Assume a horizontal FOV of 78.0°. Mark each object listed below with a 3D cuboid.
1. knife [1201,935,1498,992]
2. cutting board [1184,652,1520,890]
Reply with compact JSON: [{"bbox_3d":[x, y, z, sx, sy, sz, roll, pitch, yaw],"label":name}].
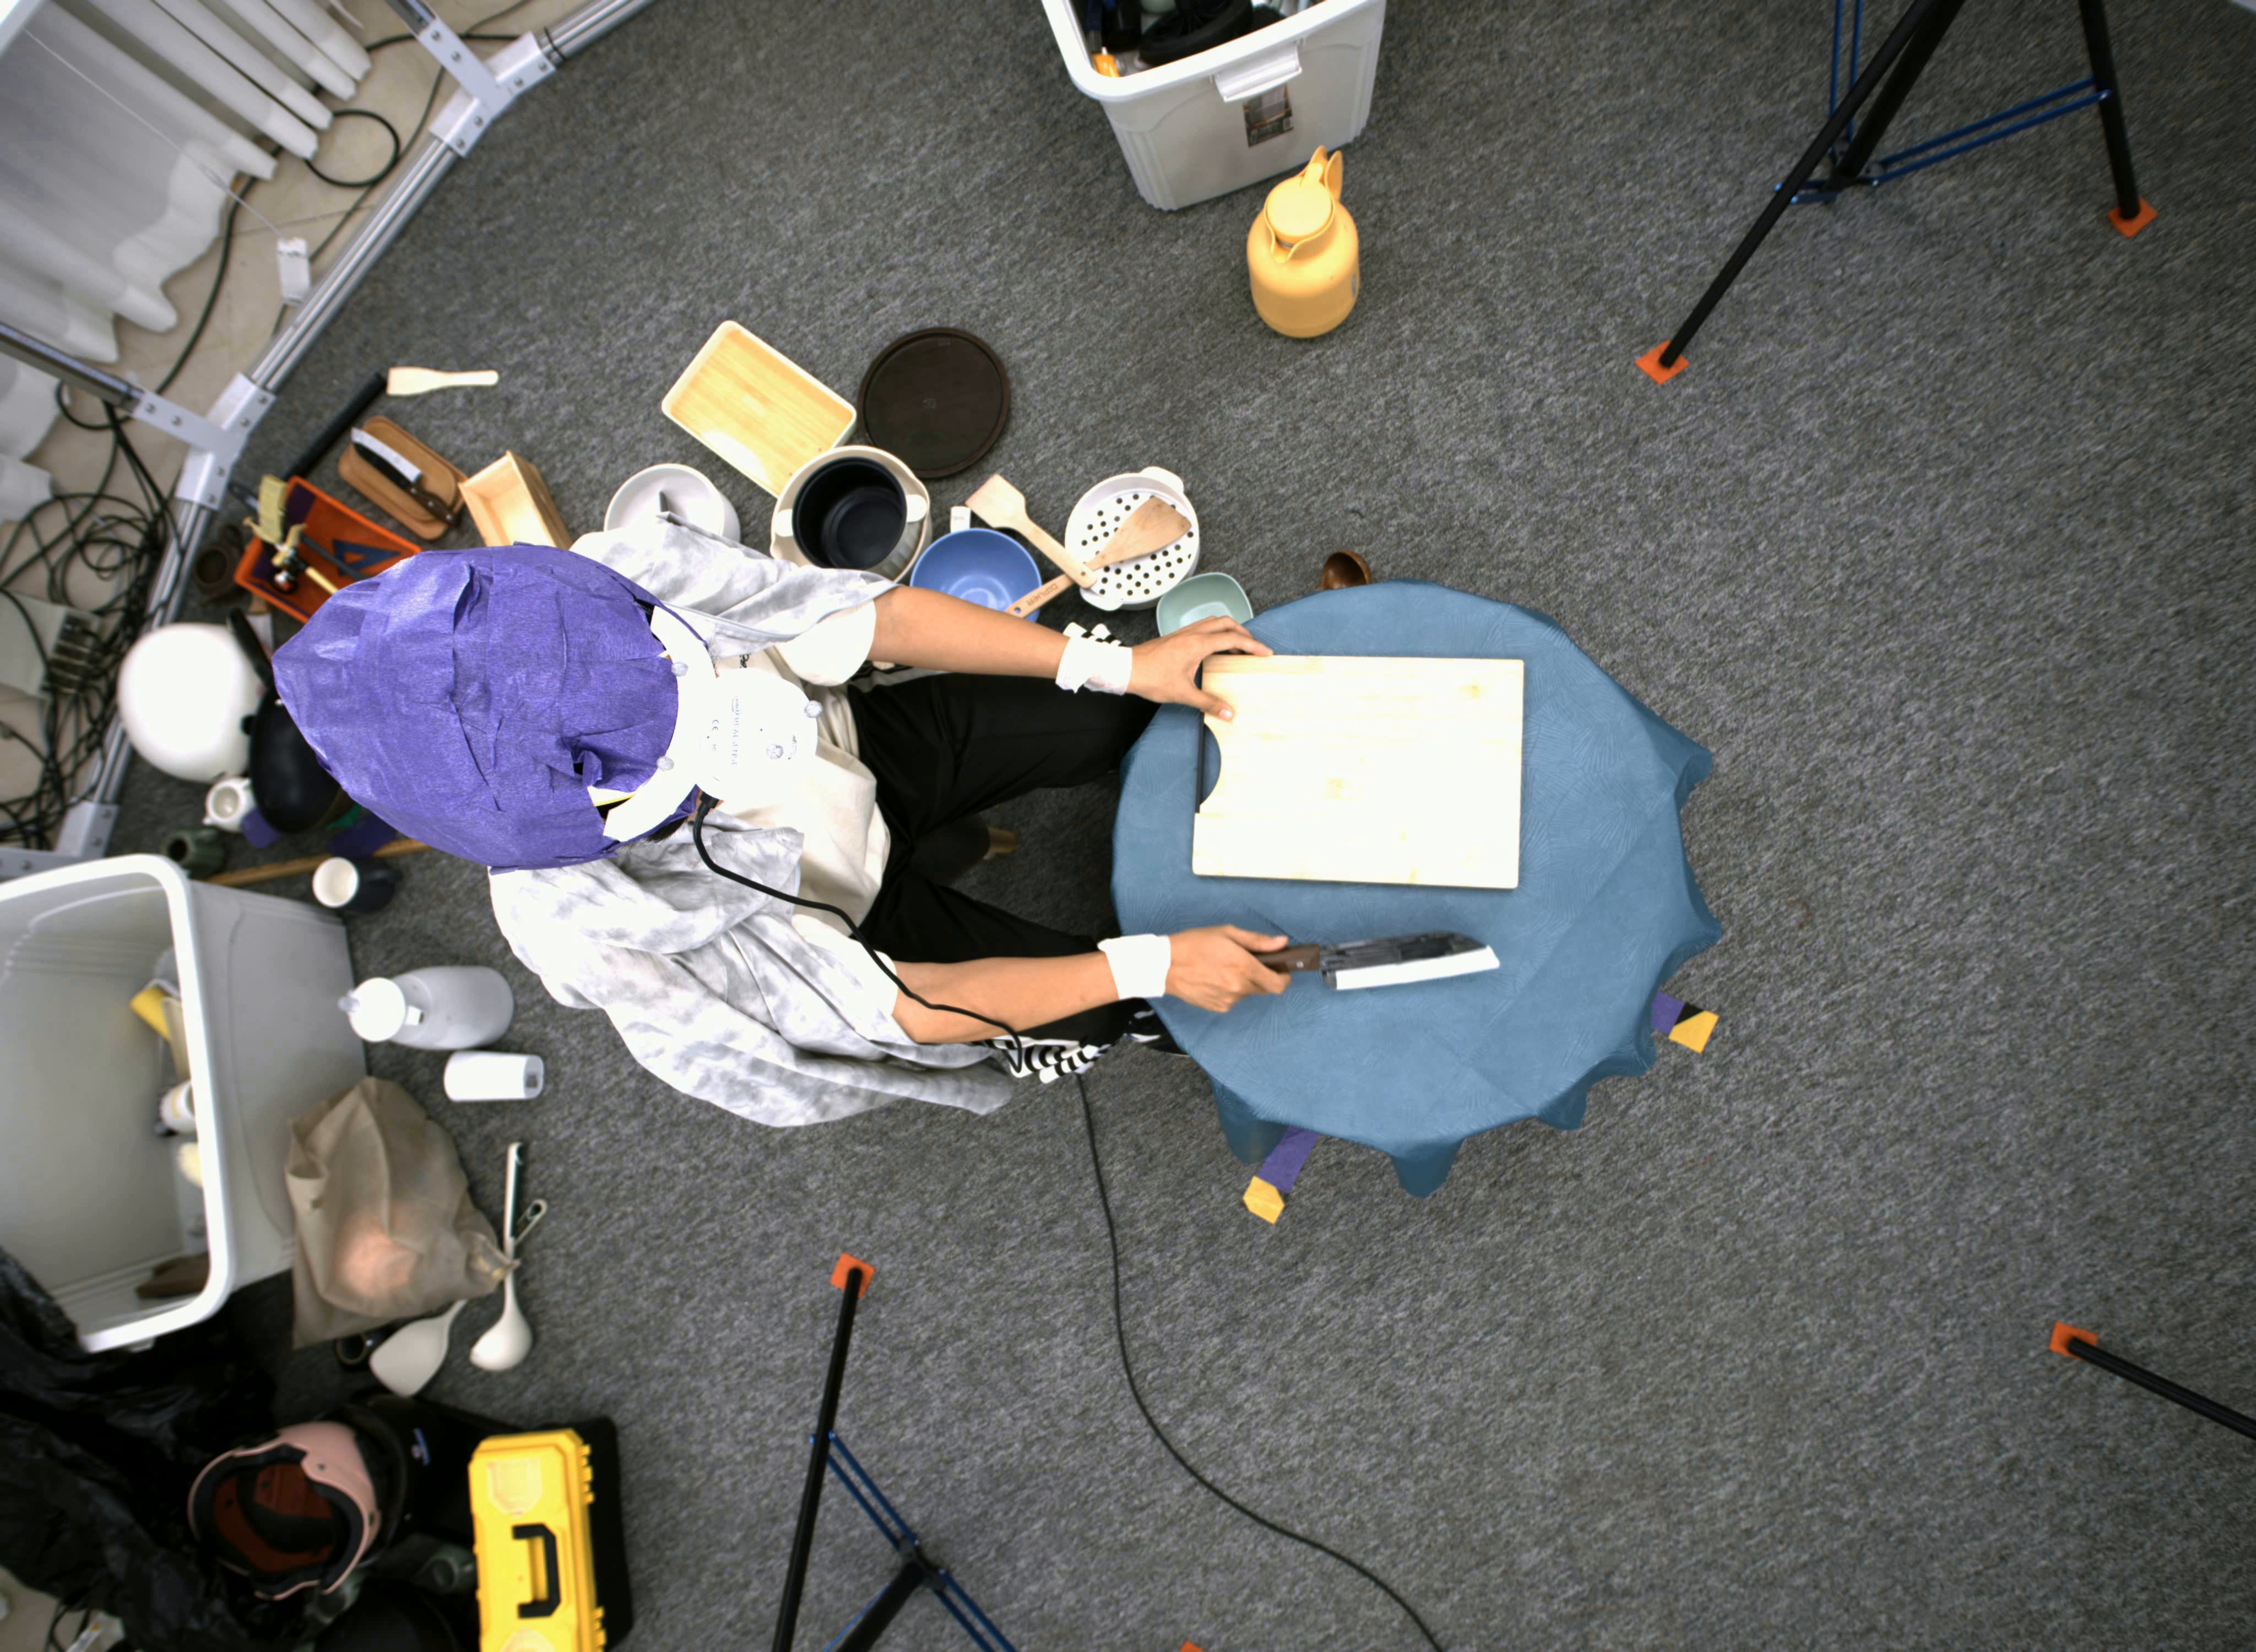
[{"bbox_3d":[0.226,0.144,1.417,0.301,0.023,0.069,-7,130,13],"label":"knife"},{"bbox_3d":[0.237,-0.063,1.464,0.350,0.023,0.249,1,87,11],"label":"cutting board"}]
